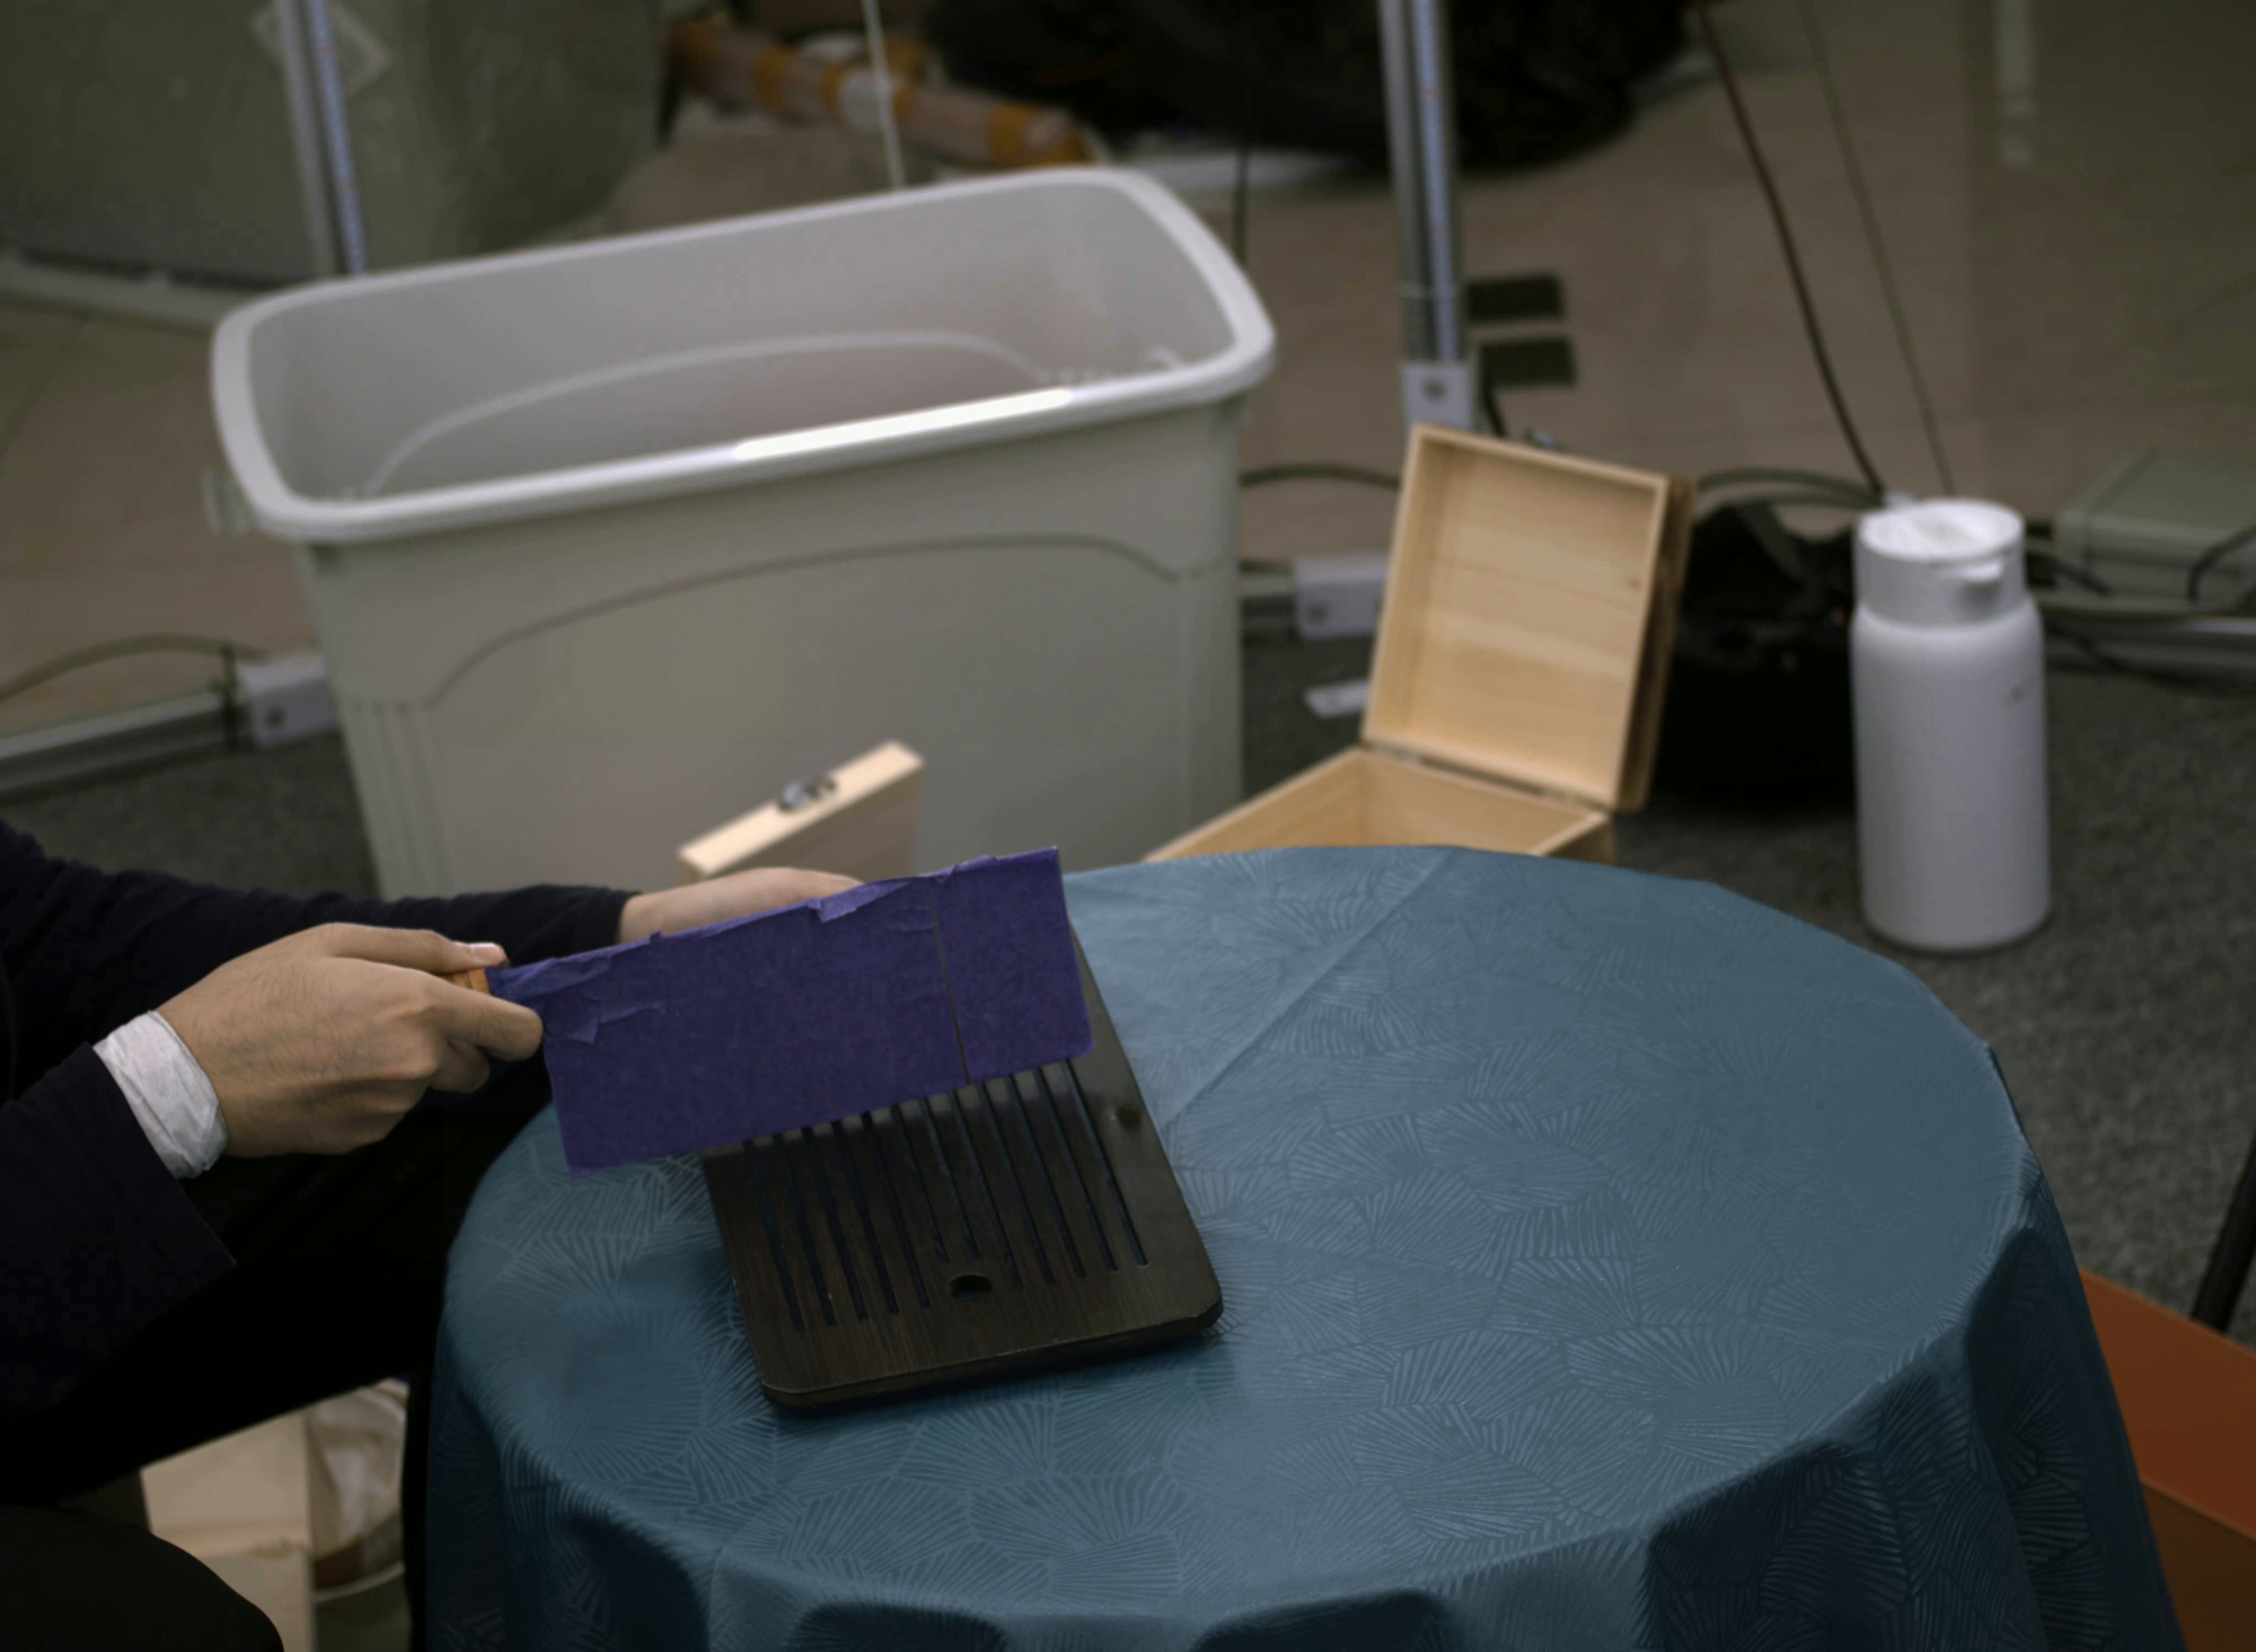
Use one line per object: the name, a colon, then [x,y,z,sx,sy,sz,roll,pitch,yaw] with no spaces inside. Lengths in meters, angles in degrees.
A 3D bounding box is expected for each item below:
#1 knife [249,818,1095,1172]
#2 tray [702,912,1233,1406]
knife: [-0.166,0.080,2.125,0.314,0.105,0.032,-13,24,-7]
tray: [-0.073,0.122,2.153,0.170,0.019,0.301,-10,31,-8]
